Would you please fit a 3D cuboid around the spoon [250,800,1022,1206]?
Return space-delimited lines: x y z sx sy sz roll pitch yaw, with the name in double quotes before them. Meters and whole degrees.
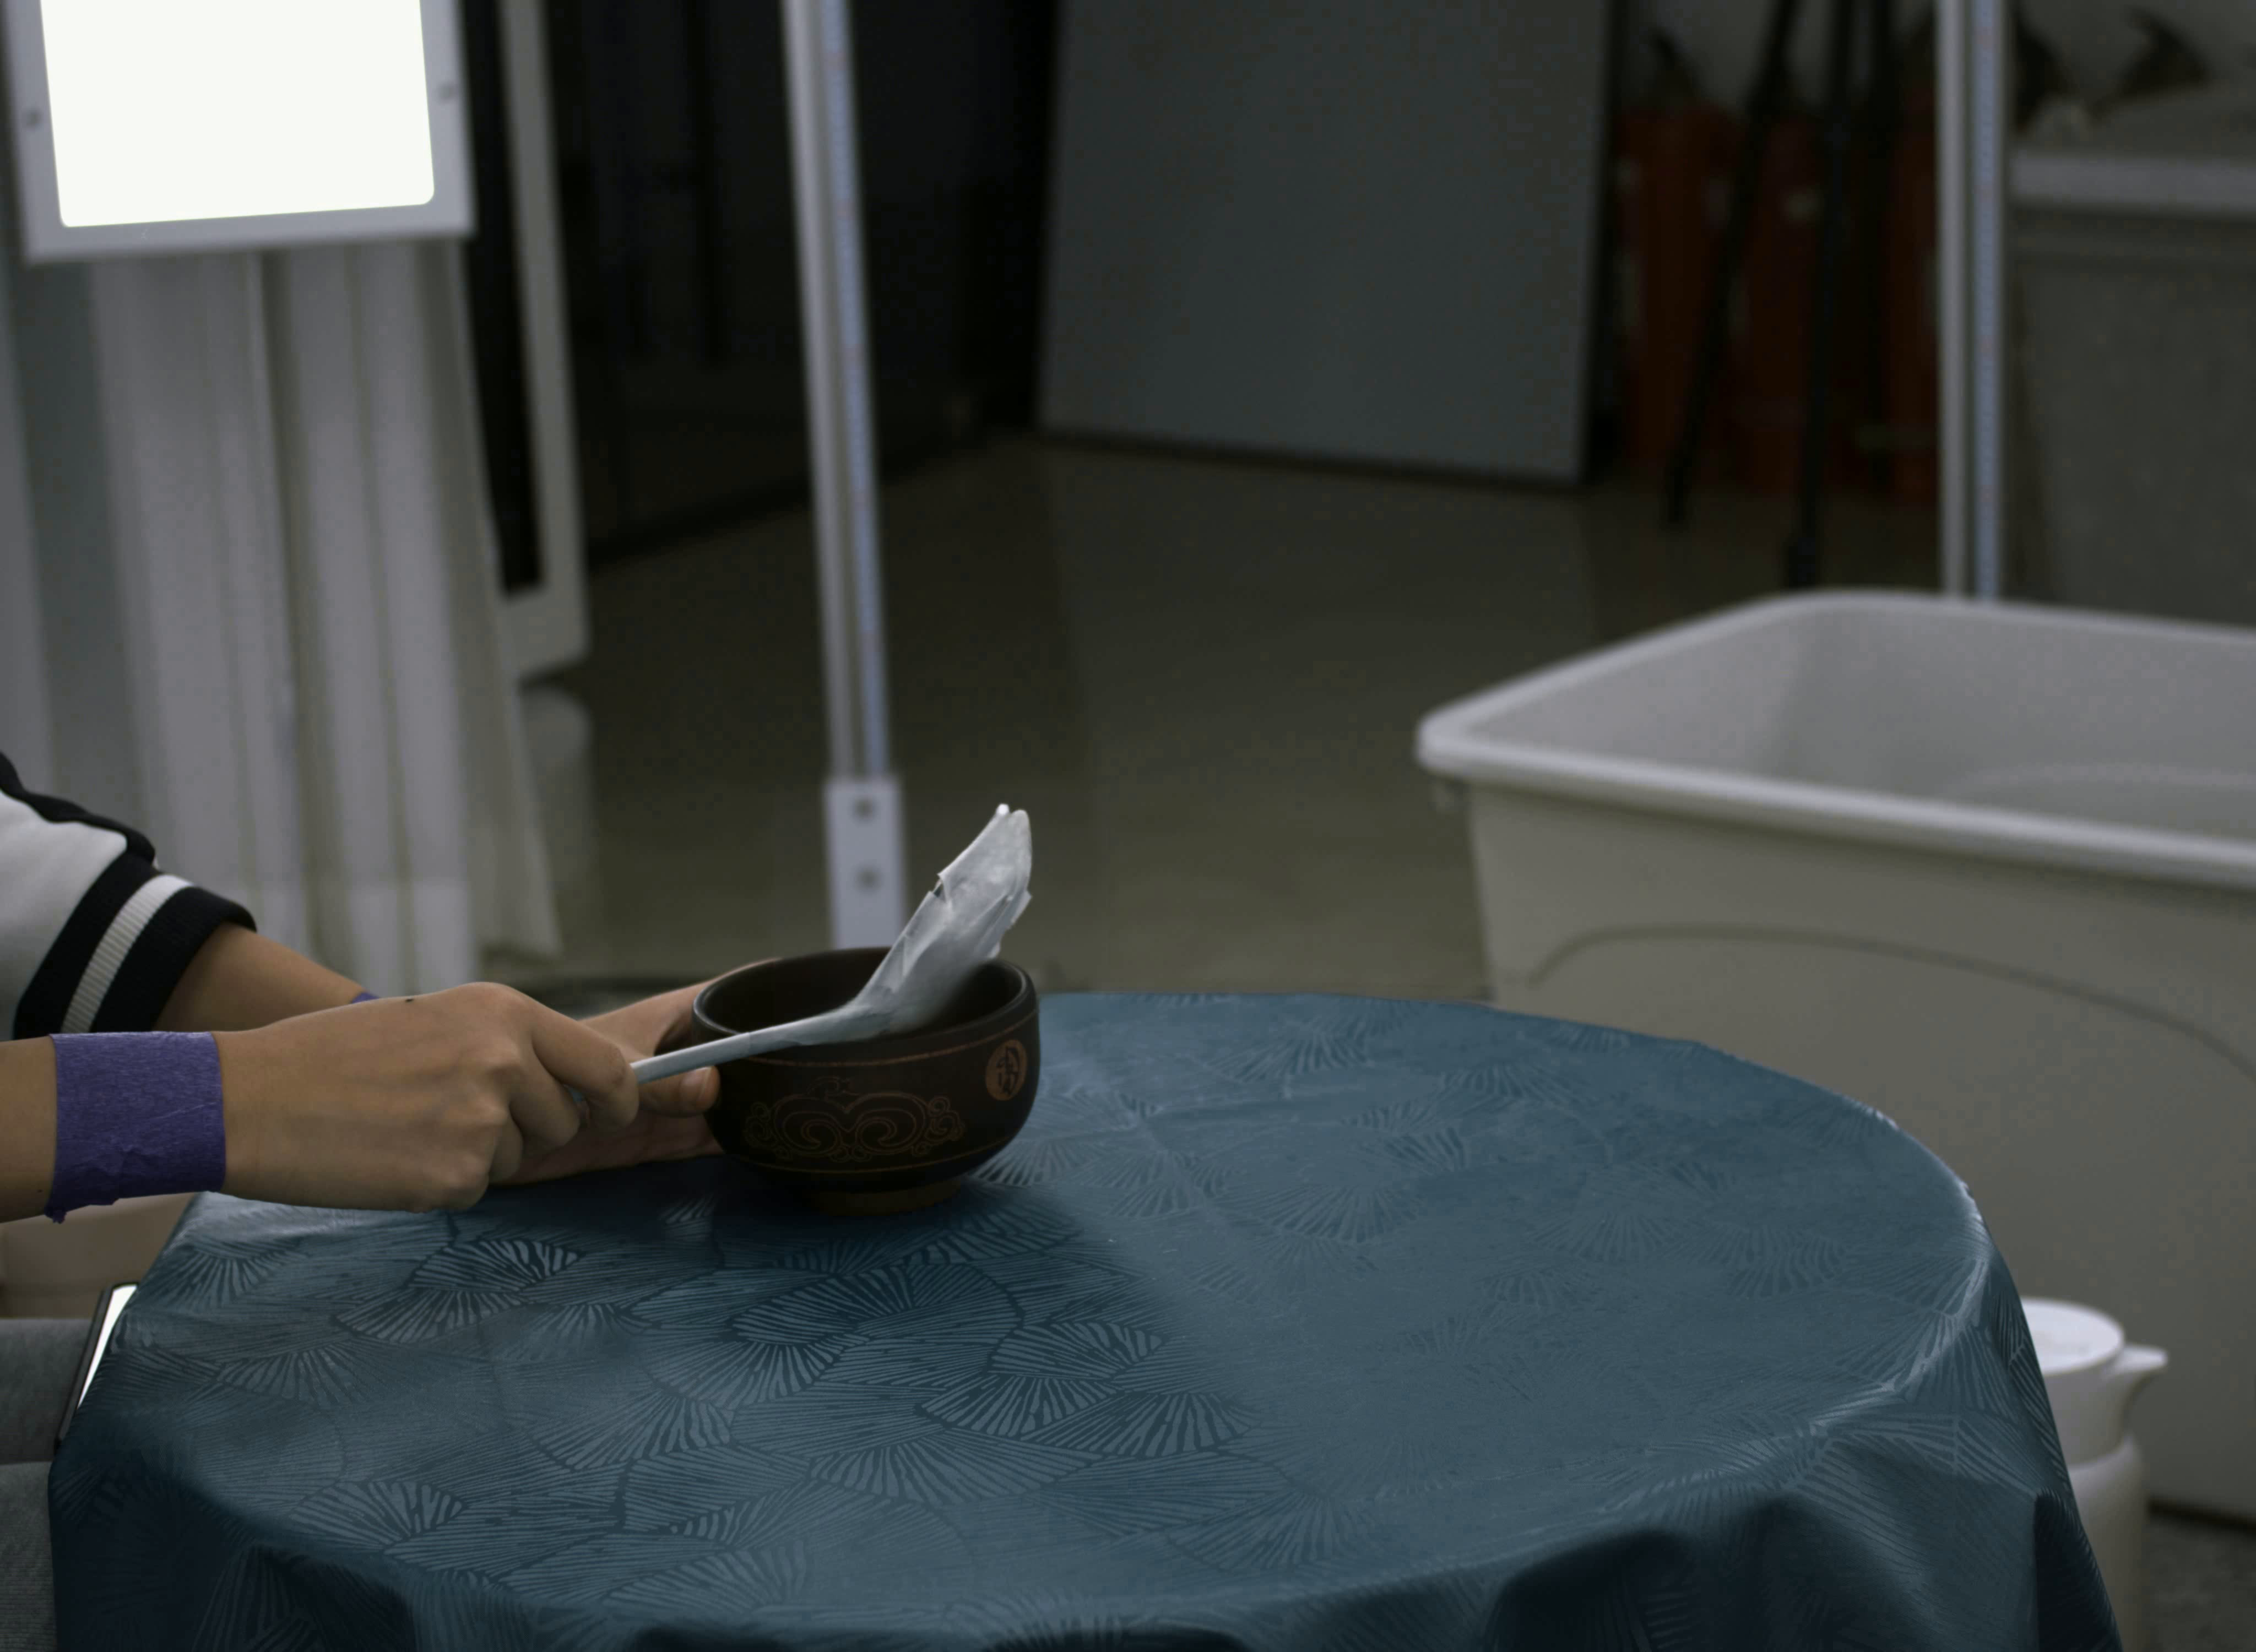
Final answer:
"spoon" -0.152 0.060 1.715 0.272 0.101 0.060 -15 59 -16

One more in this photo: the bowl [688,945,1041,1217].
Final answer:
"bowl" -0.085 0.087 1.781 0.116 0.070 0.118 -4 13 0
